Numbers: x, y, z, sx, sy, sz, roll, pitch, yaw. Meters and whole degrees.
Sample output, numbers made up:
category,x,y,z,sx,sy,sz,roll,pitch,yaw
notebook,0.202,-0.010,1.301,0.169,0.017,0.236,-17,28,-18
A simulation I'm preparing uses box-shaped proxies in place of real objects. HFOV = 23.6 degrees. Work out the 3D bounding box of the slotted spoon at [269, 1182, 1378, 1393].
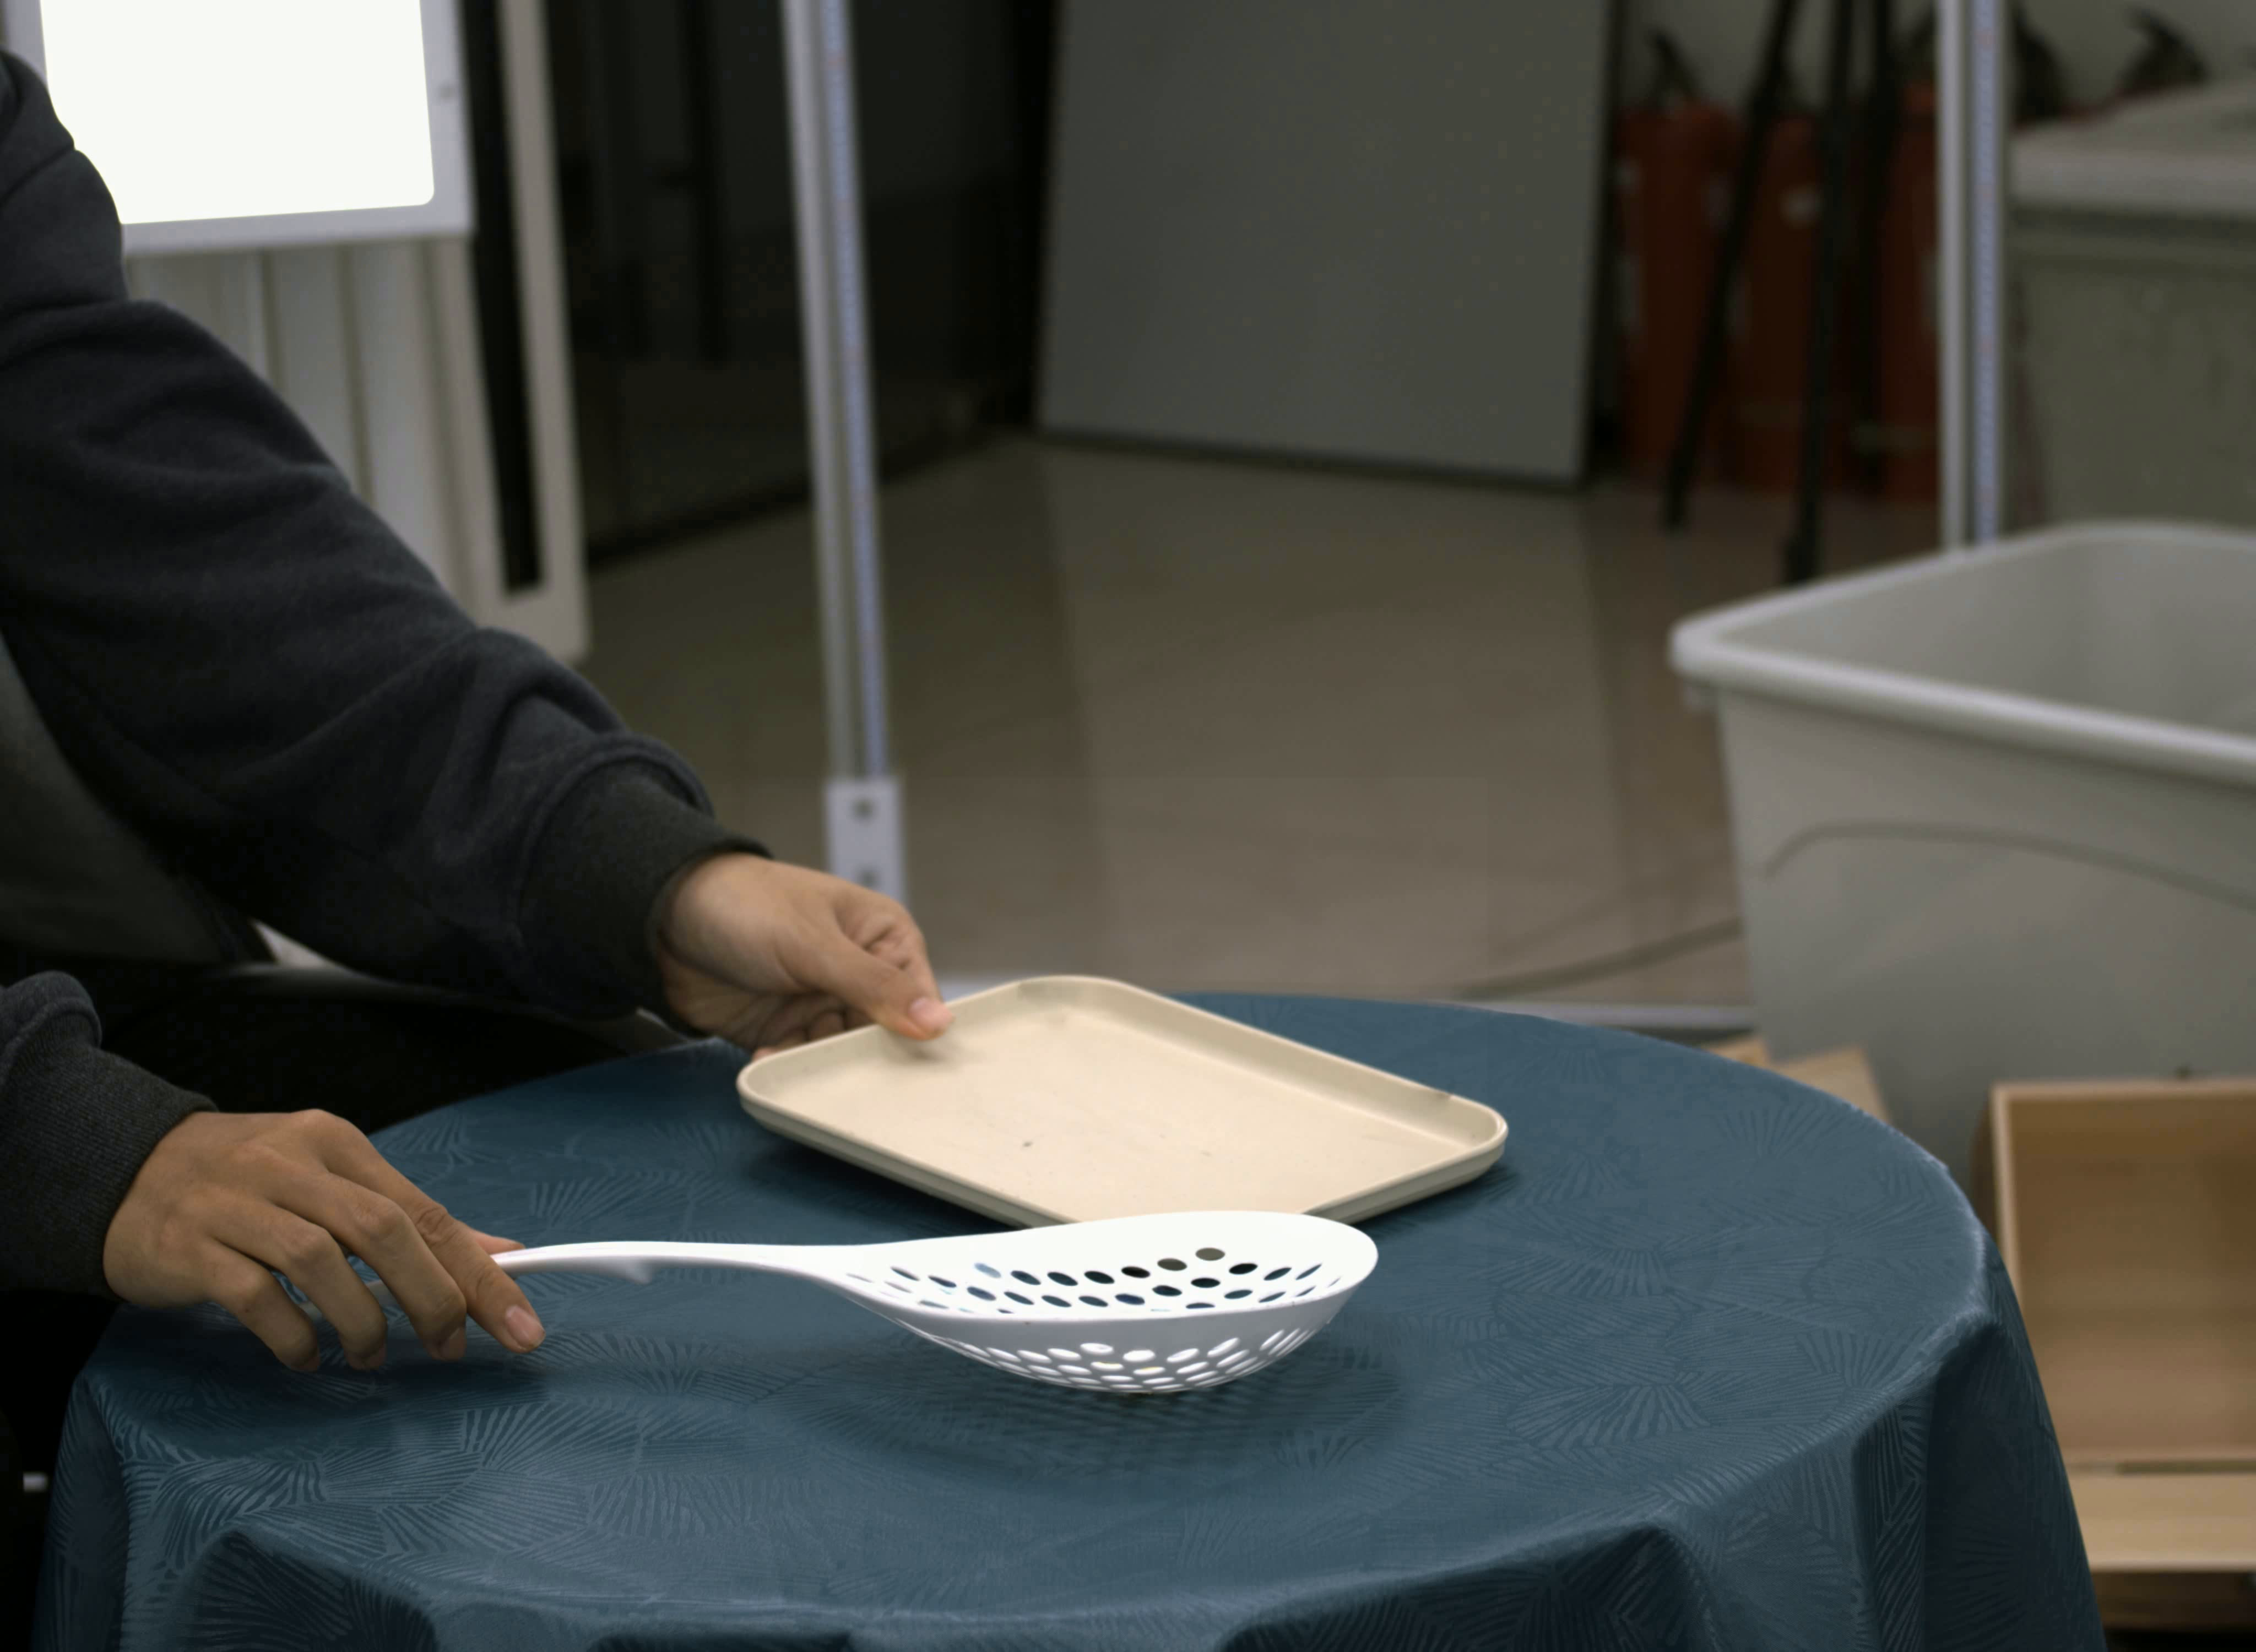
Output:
category,x,y,z,sx,sy,sz,roll,pitch,yaw
slotted spoon,-0.095,0.141,1.616,0.347,0.051,0.135,2,12,17

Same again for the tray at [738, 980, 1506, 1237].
category,x,y,z,sx,sy,sz,roll,pitch,yaw
tray,-0.004,0.099,1.796,0.167,0.017,0.242,-16,21,-38
